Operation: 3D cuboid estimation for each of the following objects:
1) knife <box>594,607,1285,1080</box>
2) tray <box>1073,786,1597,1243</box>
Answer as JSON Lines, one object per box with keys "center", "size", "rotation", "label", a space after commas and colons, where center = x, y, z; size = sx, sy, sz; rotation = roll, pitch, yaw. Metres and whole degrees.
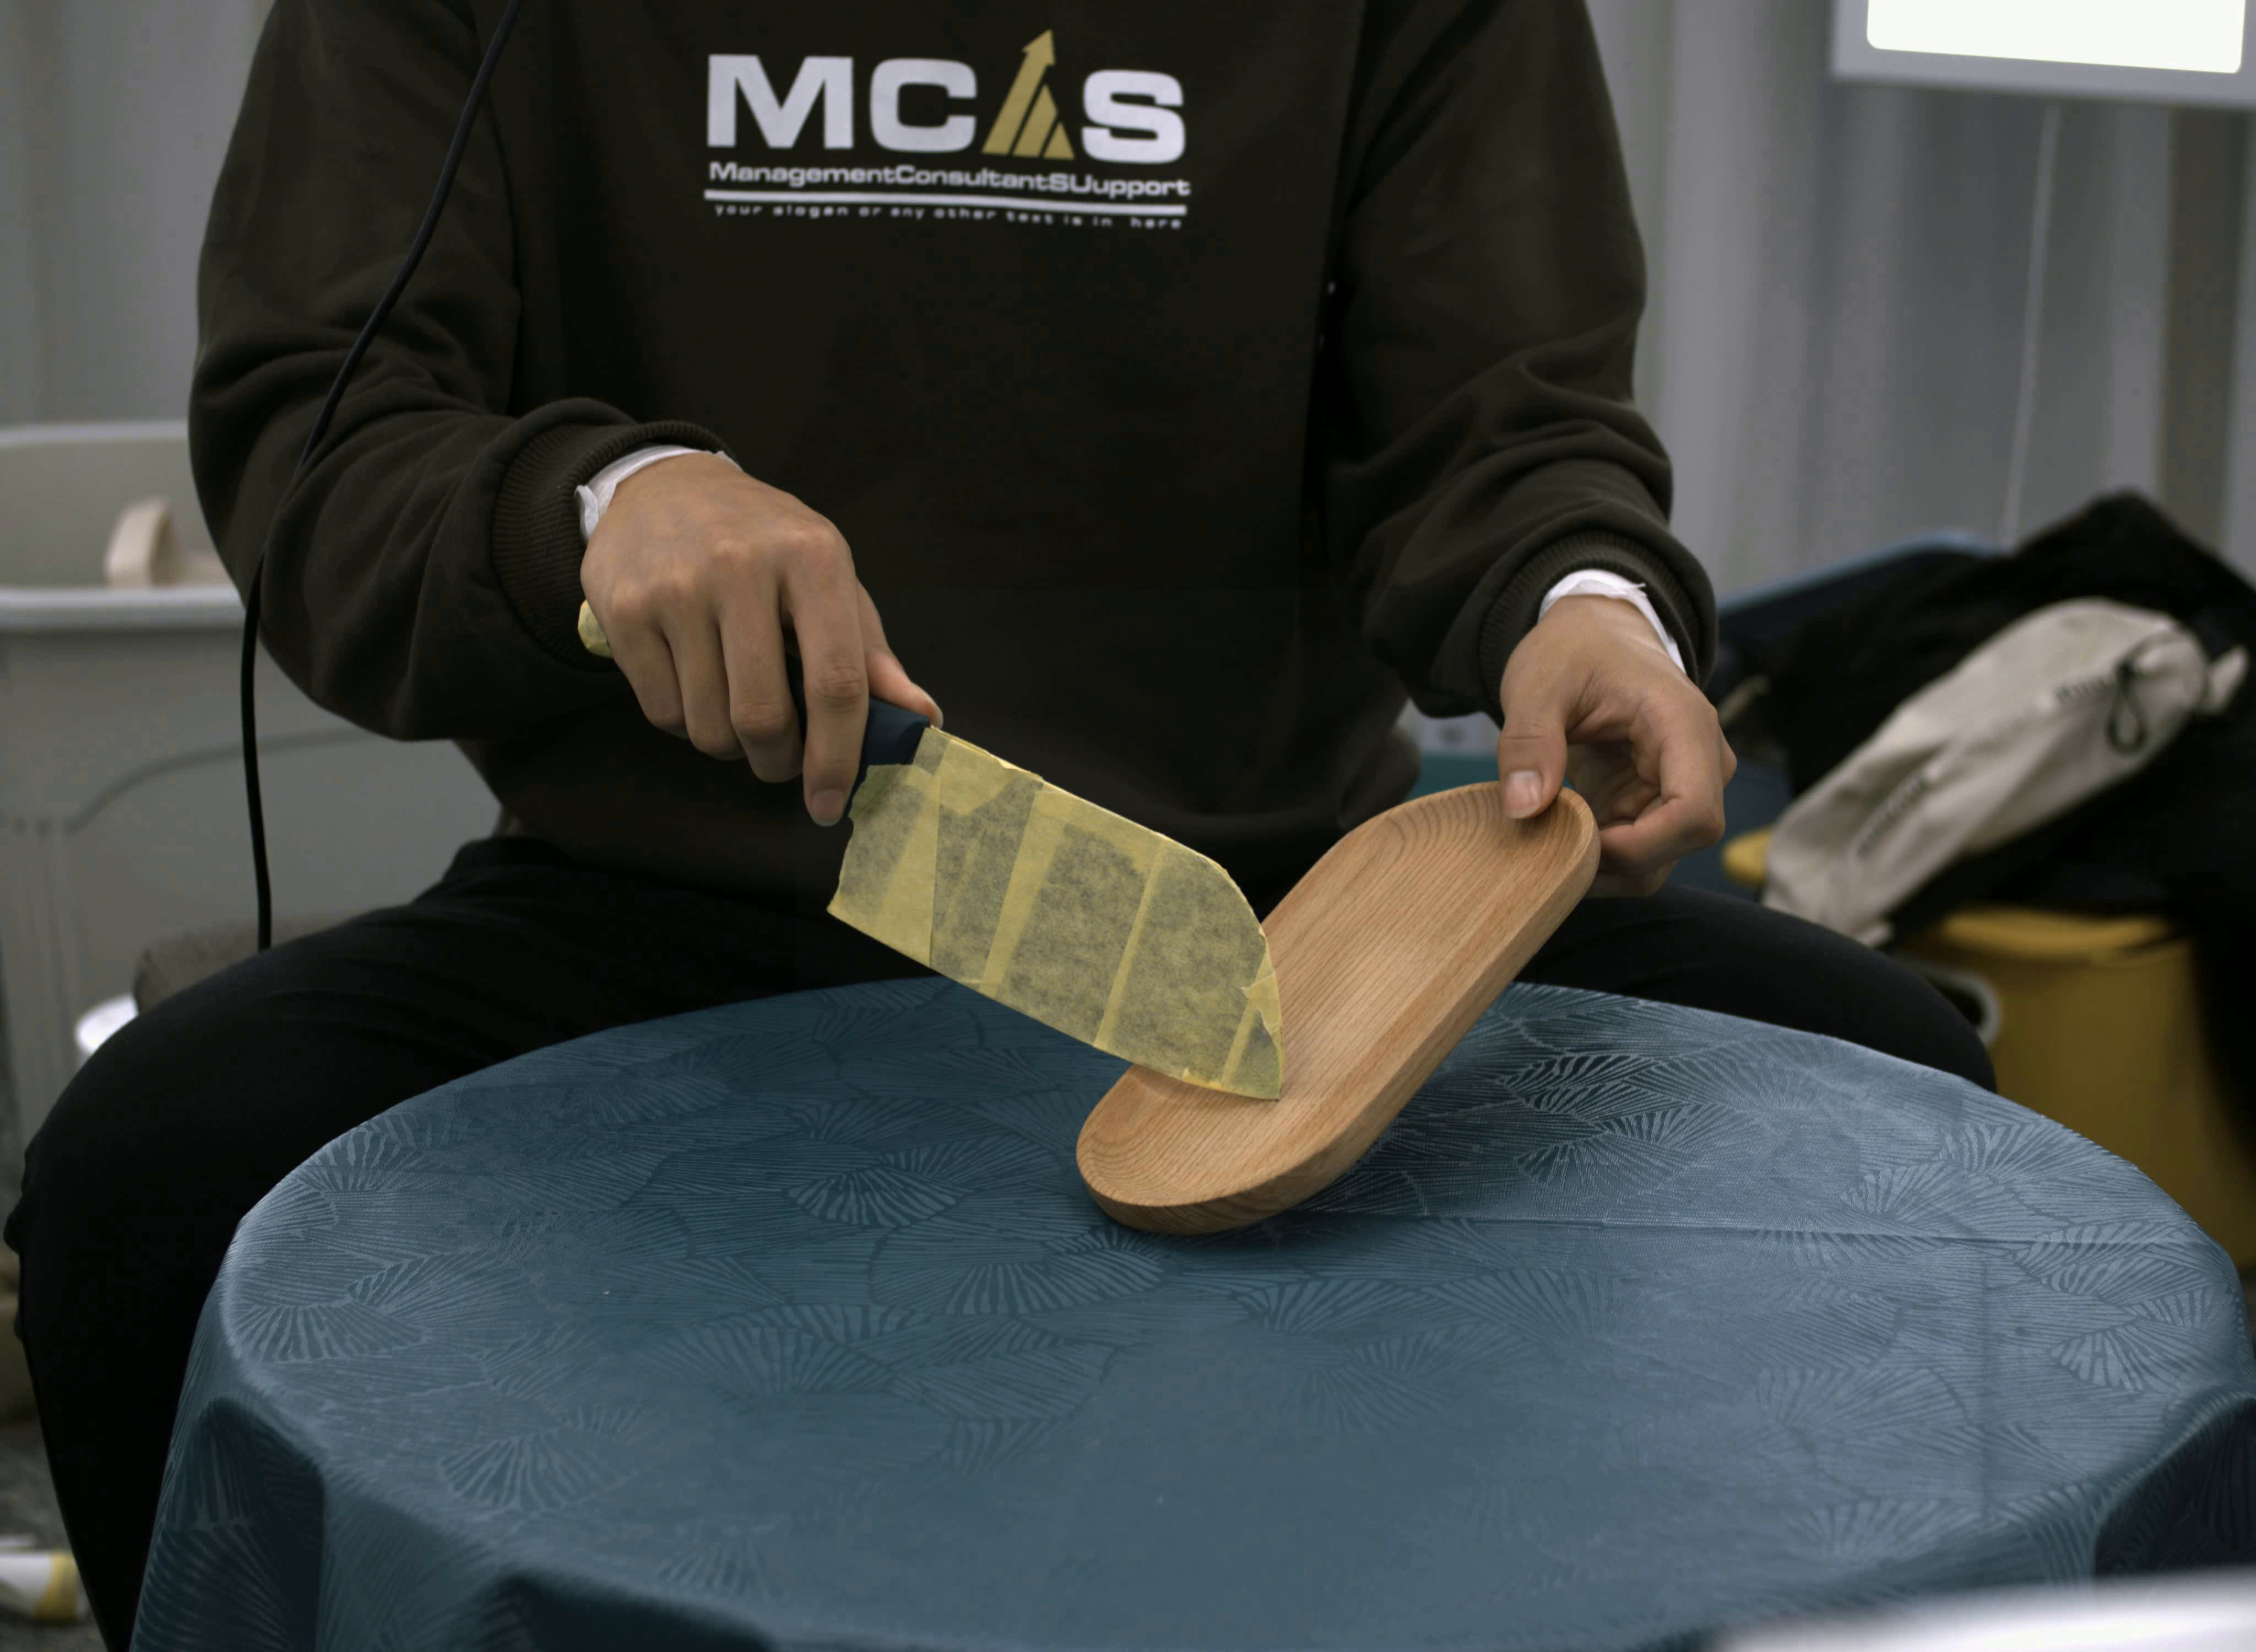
{"center": [-0.064, 0.003, 1.674], "size": [0.286, 0.081, 0.027], "rotation": [29, 15, 27], "label": "knife"}
{"center": [0.067, 0.057, 1.647], "size": [0.100, 0.020, 0.231], "rotation": [0, 35, 40], "label": "tray"}
